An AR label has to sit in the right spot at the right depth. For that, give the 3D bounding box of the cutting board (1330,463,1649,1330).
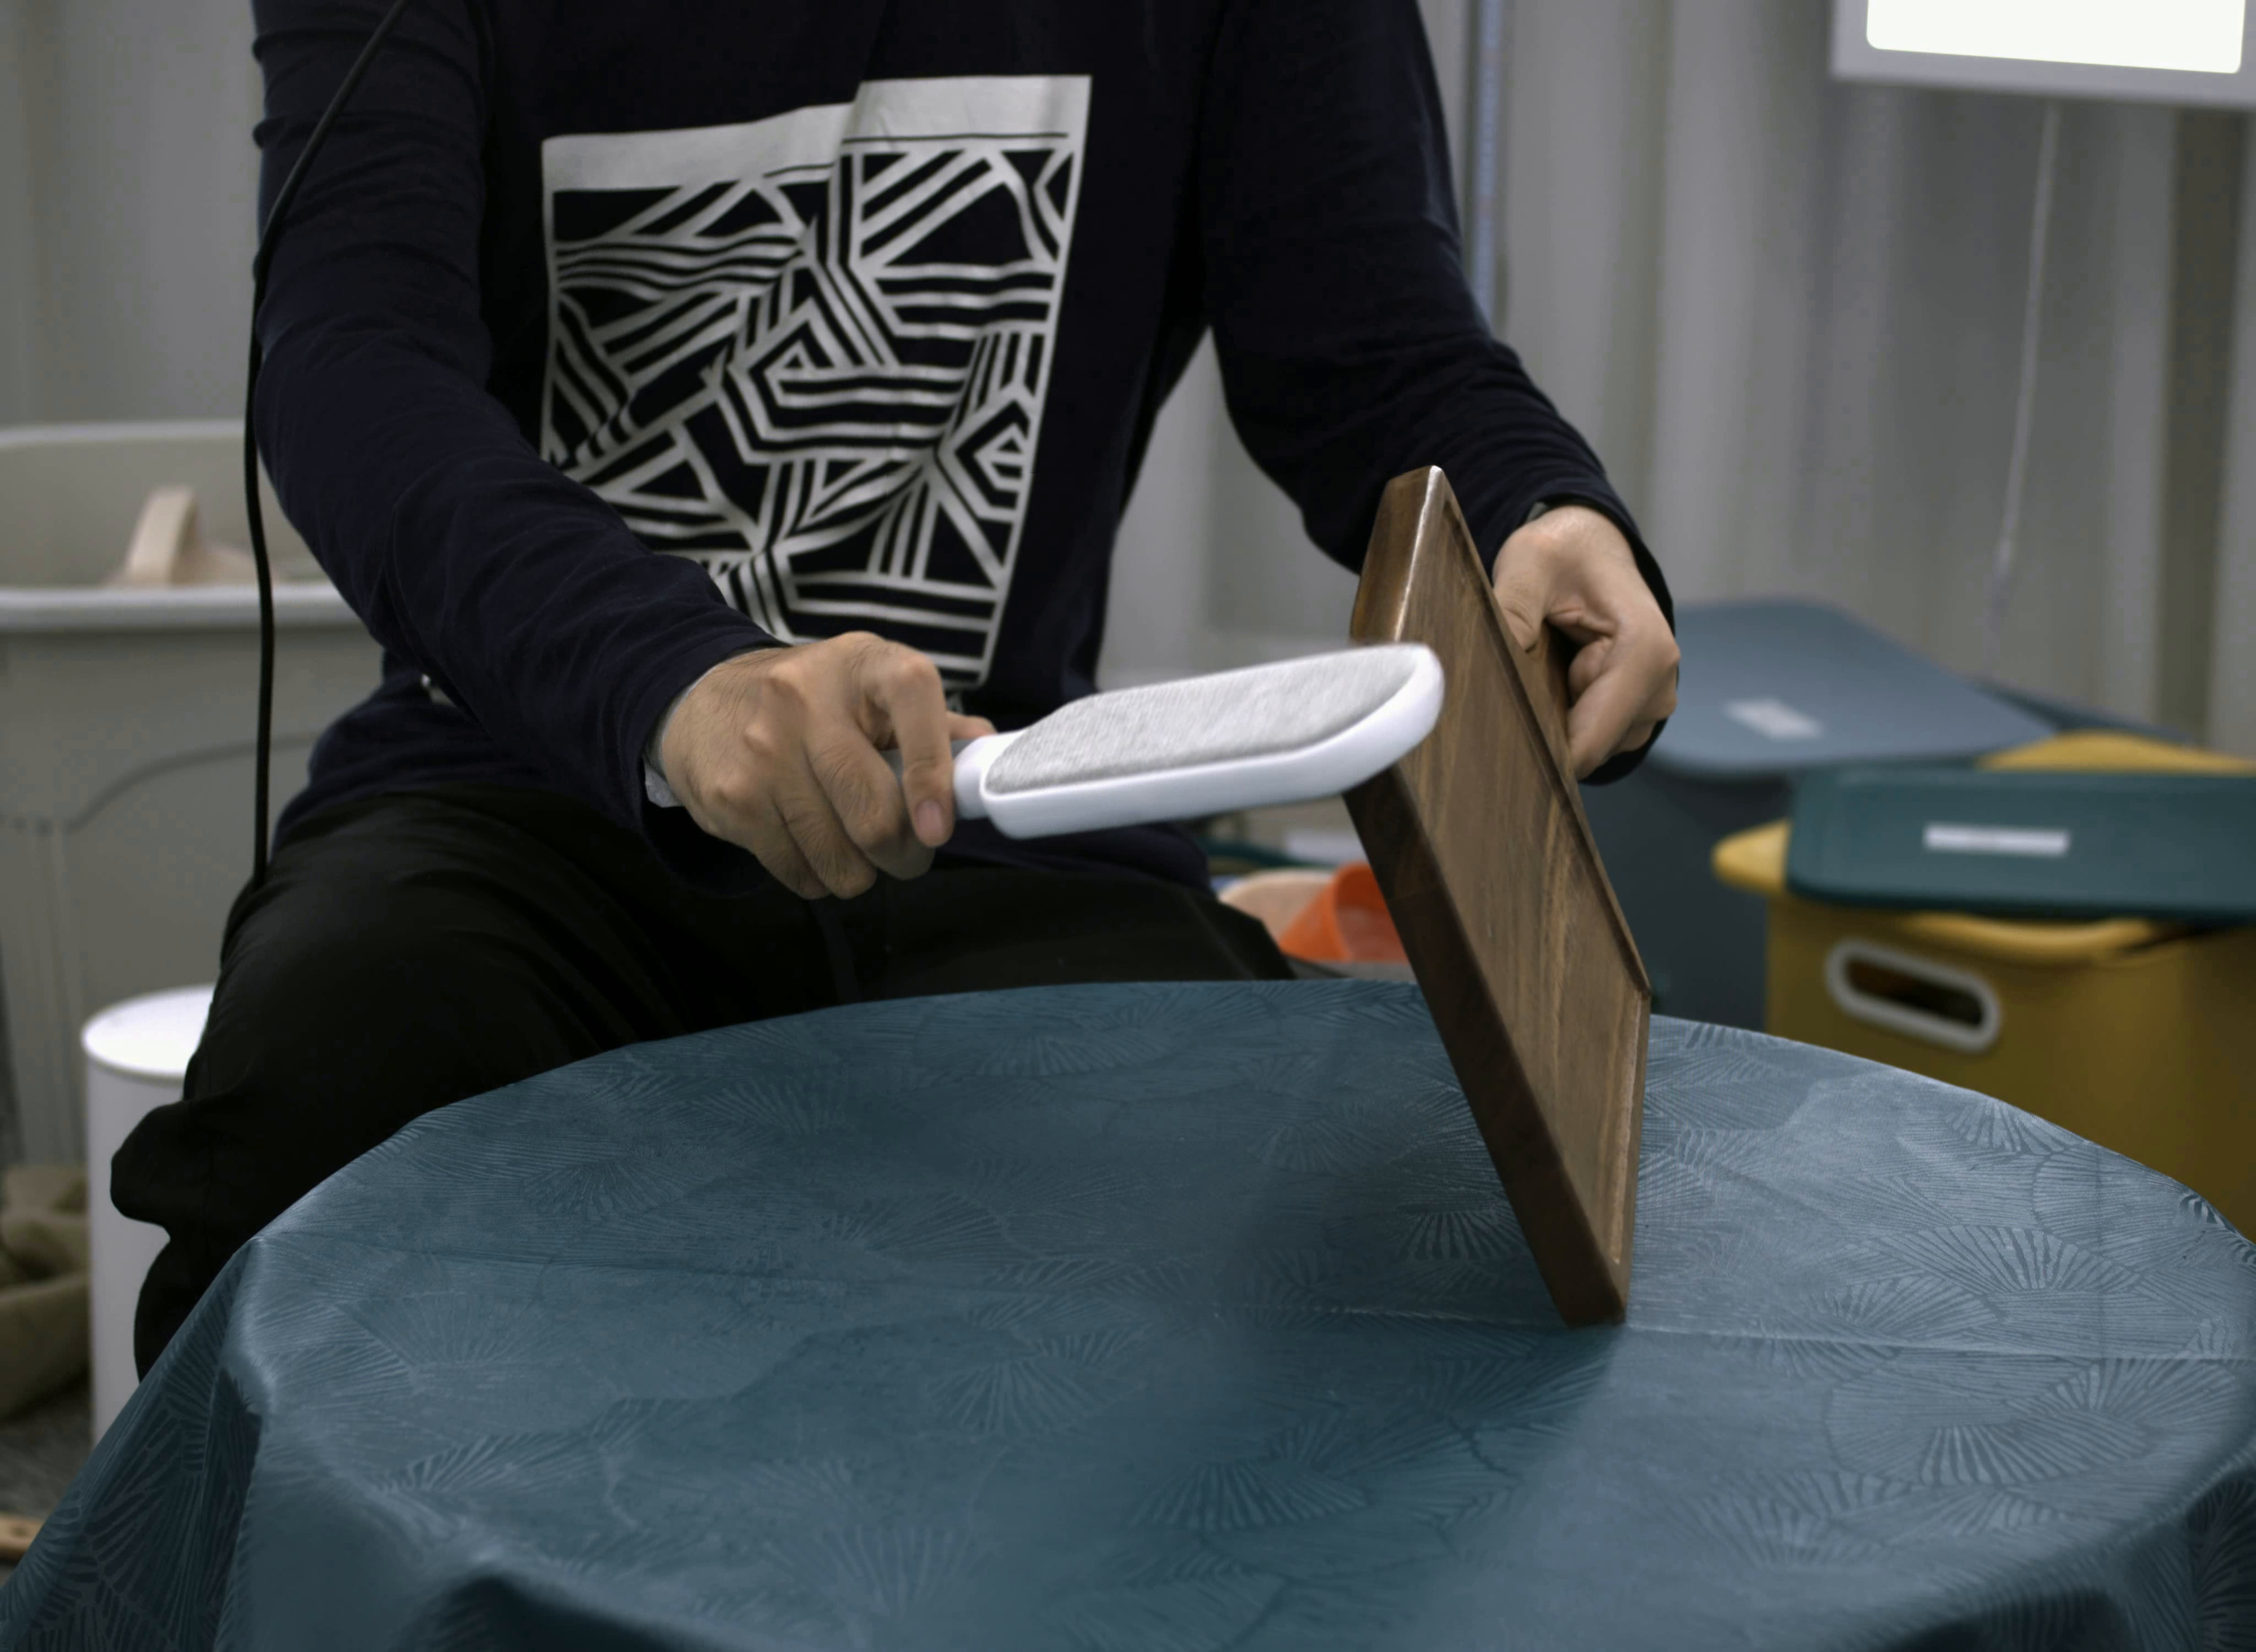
[{"bbox_3d":[0.117,-0.002,1.636,0.023,0.203,0.350,-20,17,14],"label":"cutting board"}]

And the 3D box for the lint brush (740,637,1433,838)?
[{"bbox_3d":[-0.020,-0.020,1.518,0.306,0.021,0.060,-7,36,51],"label":"lint brush"}]
